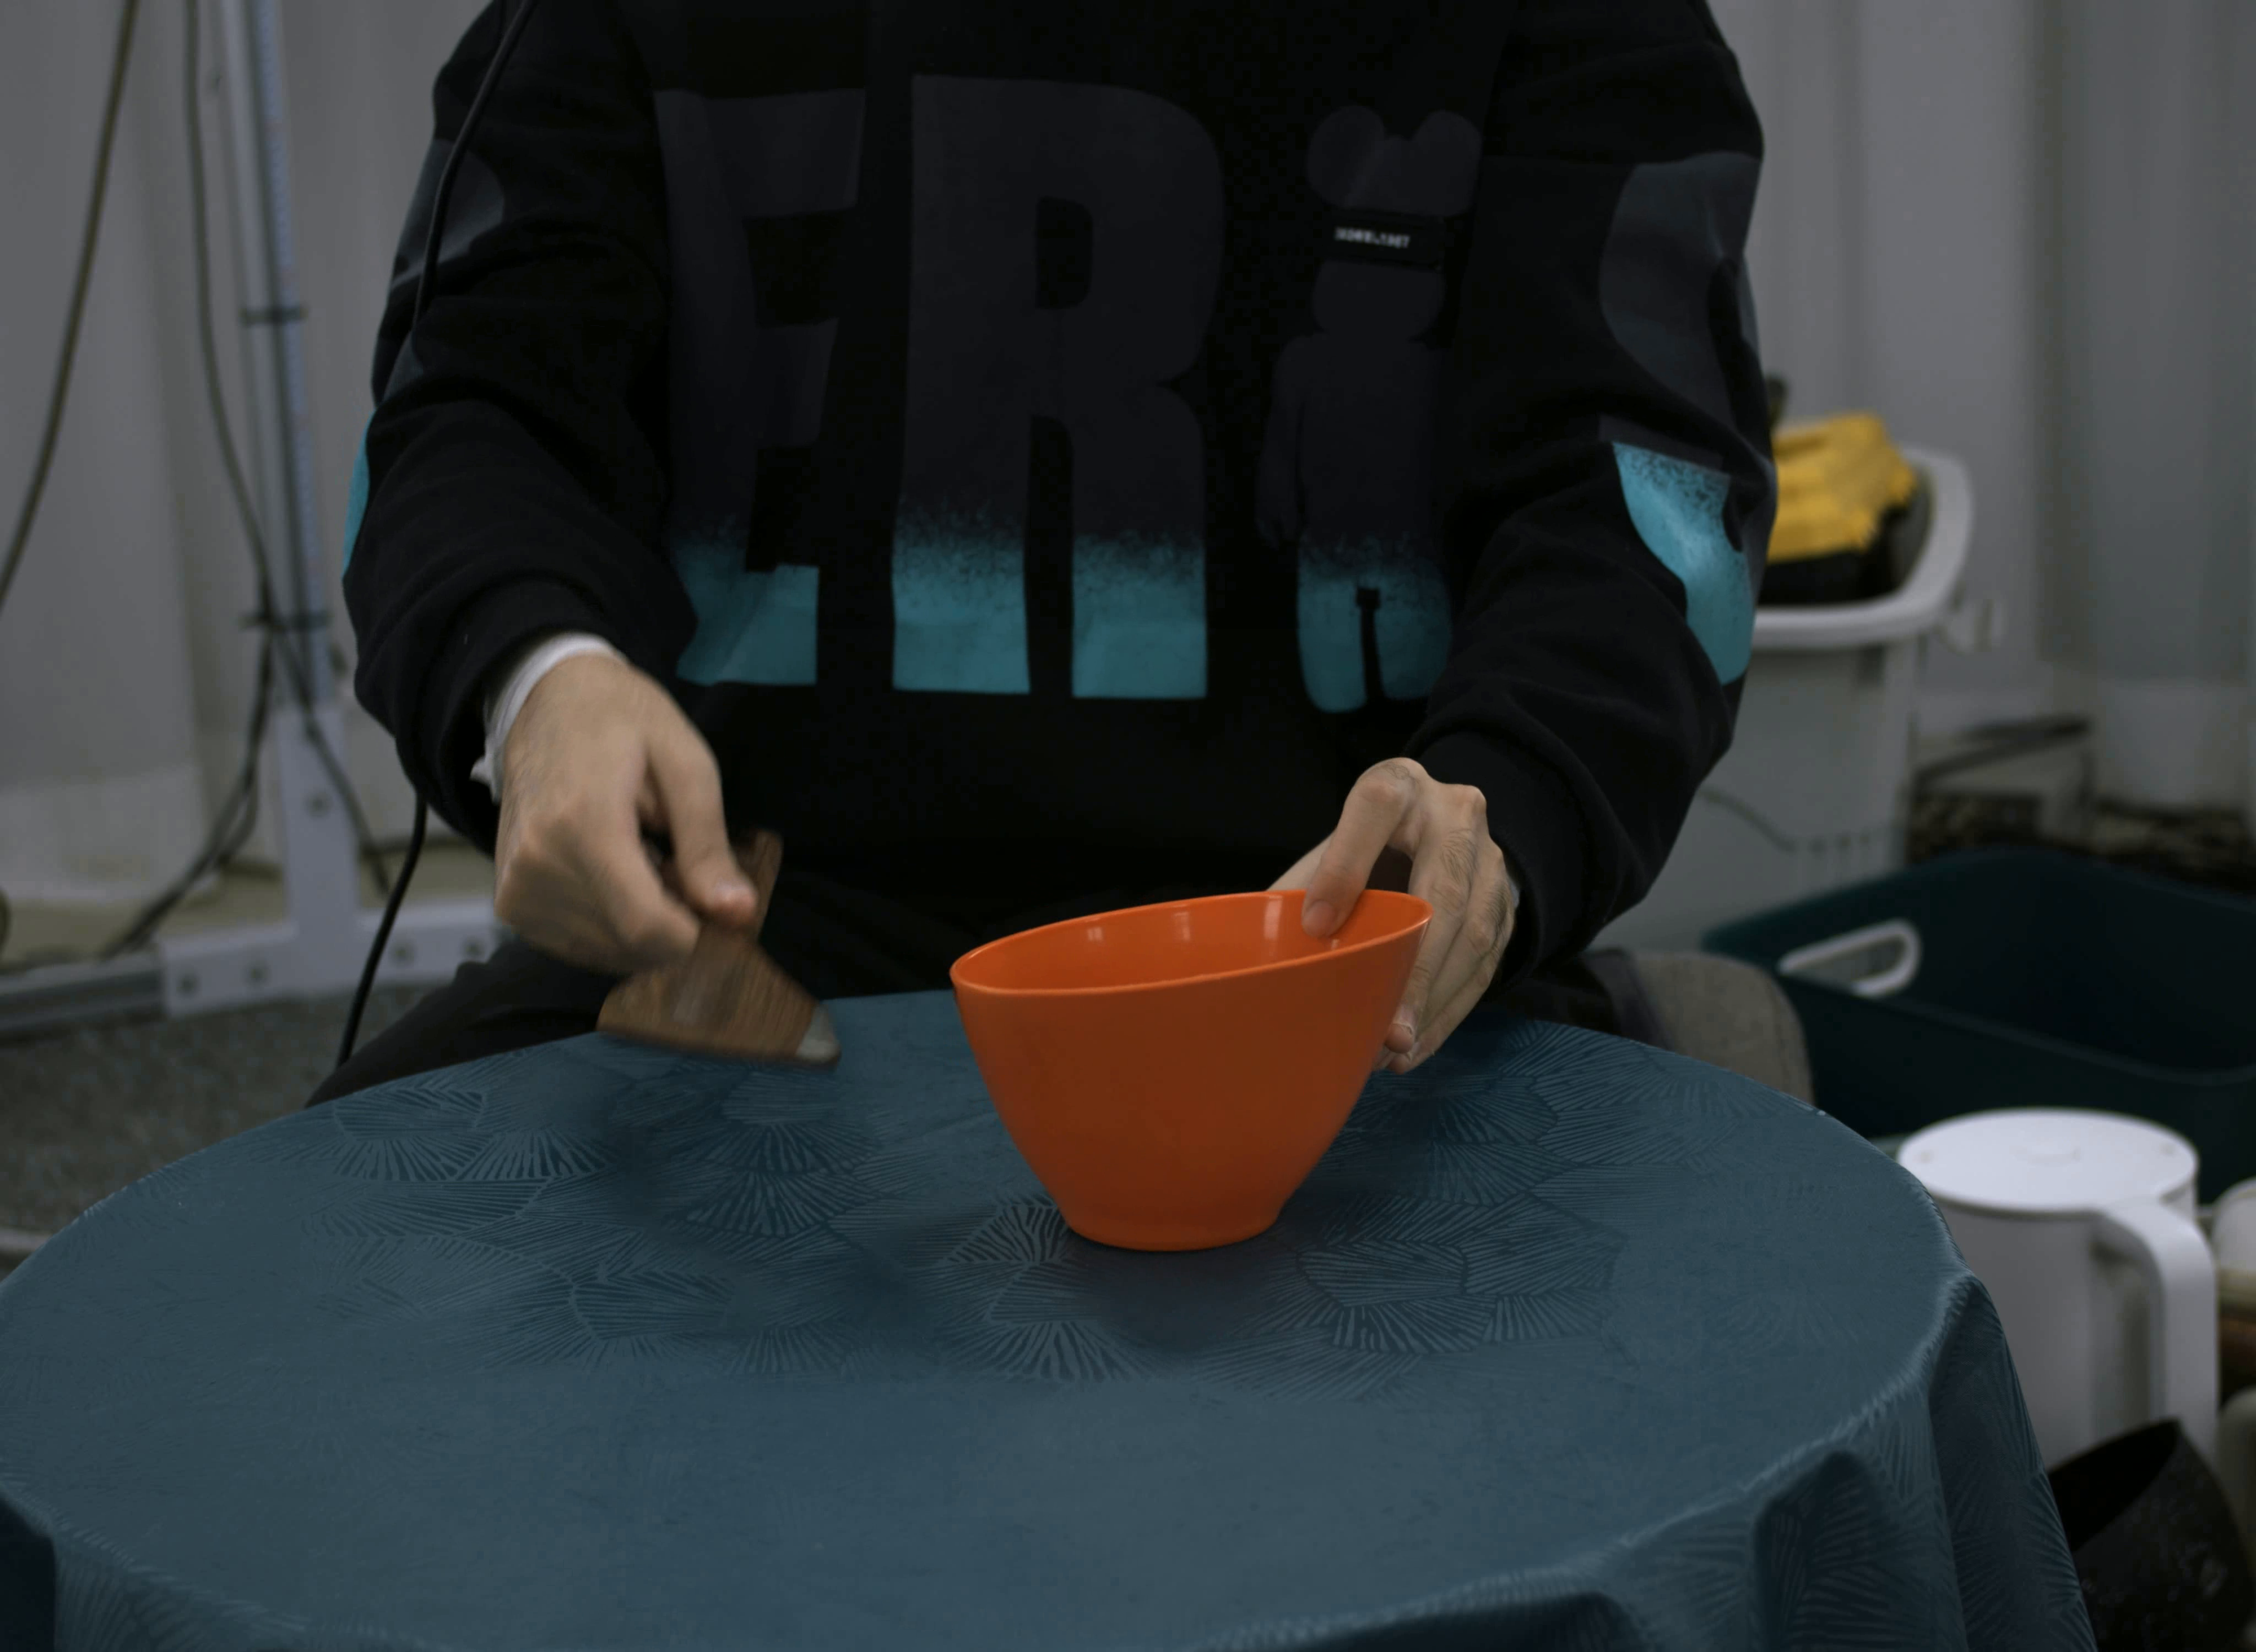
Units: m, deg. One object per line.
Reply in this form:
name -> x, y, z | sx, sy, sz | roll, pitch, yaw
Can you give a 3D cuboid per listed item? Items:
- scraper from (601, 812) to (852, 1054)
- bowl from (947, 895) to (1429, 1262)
scraper -> -0.122, 0.031, 1.710 | 0.075, 0.011, 0.213 | 9, 18, -5
bowl -> 0.019, 0.076, 1.665 | 0.147, 0.104, 0.149 | -2, 14, 0
